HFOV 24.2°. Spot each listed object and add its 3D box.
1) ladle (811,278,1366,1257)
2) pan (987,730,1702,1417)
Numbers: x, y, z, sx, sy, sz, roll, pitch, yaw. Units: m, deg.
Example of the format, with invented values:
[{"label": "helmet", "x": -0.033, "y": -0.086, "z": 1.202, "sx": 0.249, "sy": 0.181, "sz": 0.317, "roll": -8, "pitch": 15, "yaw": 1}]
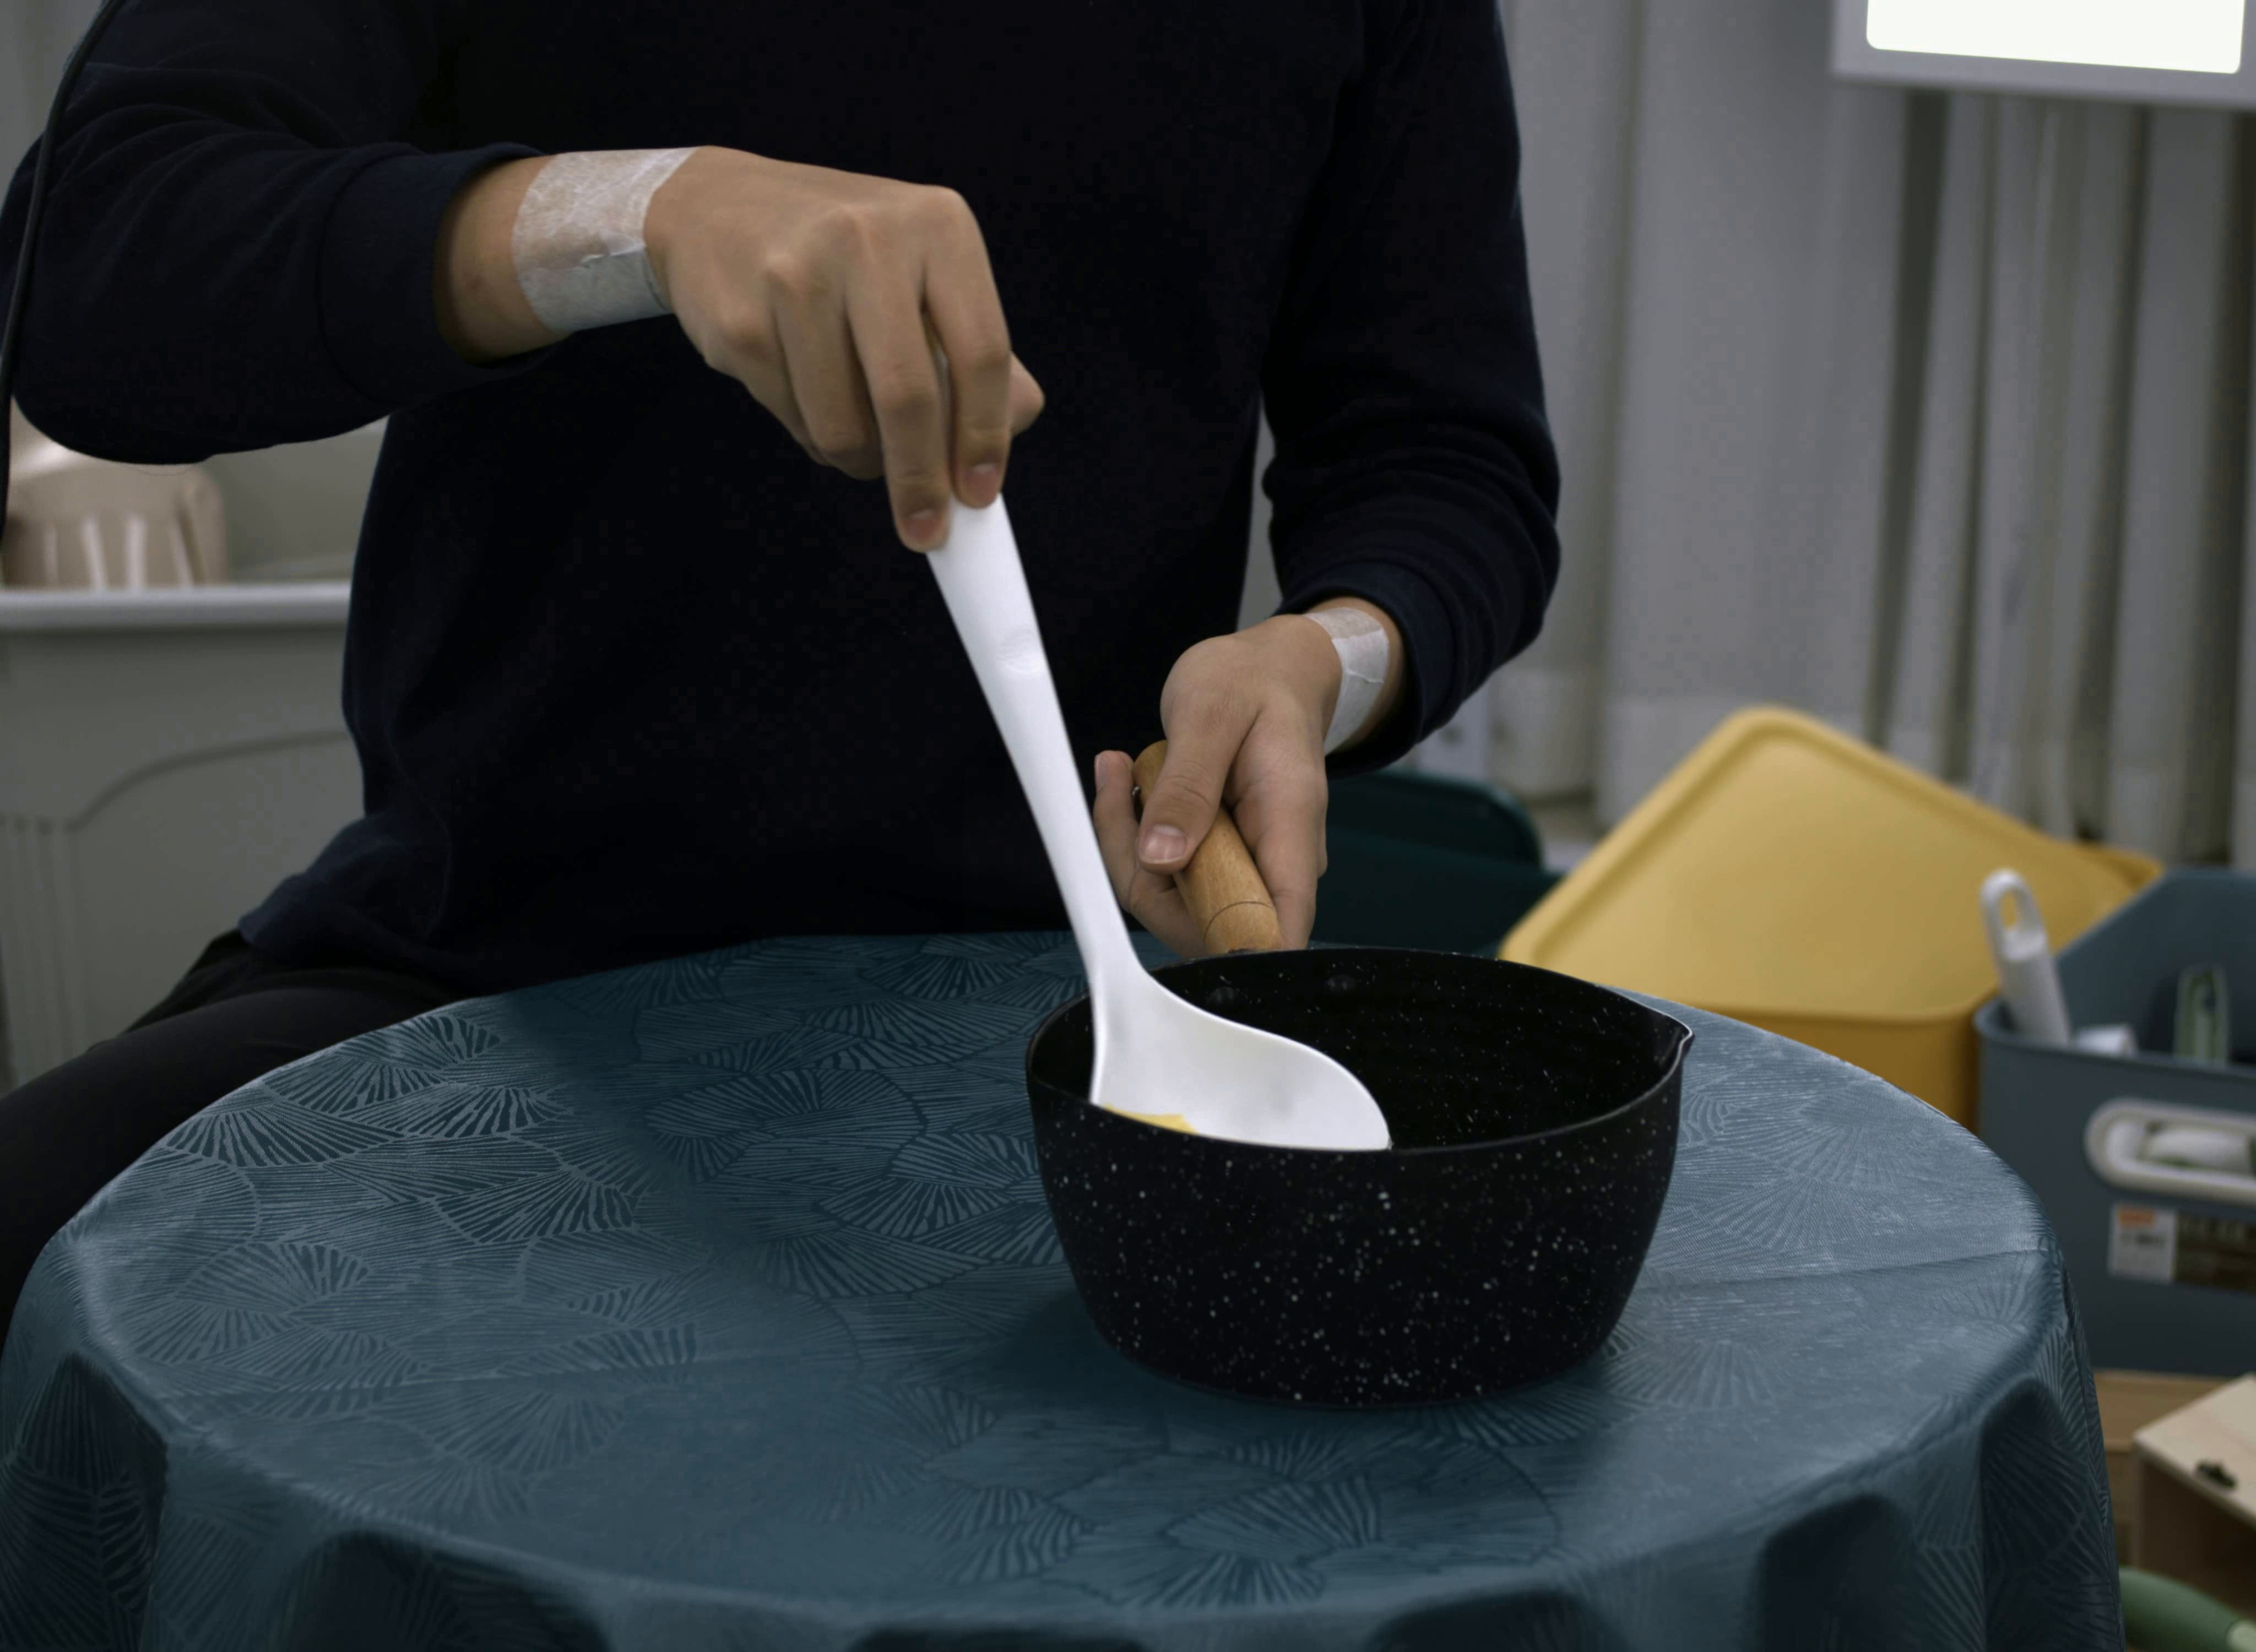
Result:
[{"label": "ladle", "x": -0.019, "y": -0.018, "z": 1.477, "sx": 0.090, "sy": 0.293, "sz": 0.069, "roll": -19, "pitch": -1, "yaw": -24}, {"label": "pan", "x": 0.046, "y": 0.068, "z": 1.576, "sx": 0.207, "sy": 0.109, "sz": 0.339, "roll": -4, "pitch": 18, "yaw": -13}]
